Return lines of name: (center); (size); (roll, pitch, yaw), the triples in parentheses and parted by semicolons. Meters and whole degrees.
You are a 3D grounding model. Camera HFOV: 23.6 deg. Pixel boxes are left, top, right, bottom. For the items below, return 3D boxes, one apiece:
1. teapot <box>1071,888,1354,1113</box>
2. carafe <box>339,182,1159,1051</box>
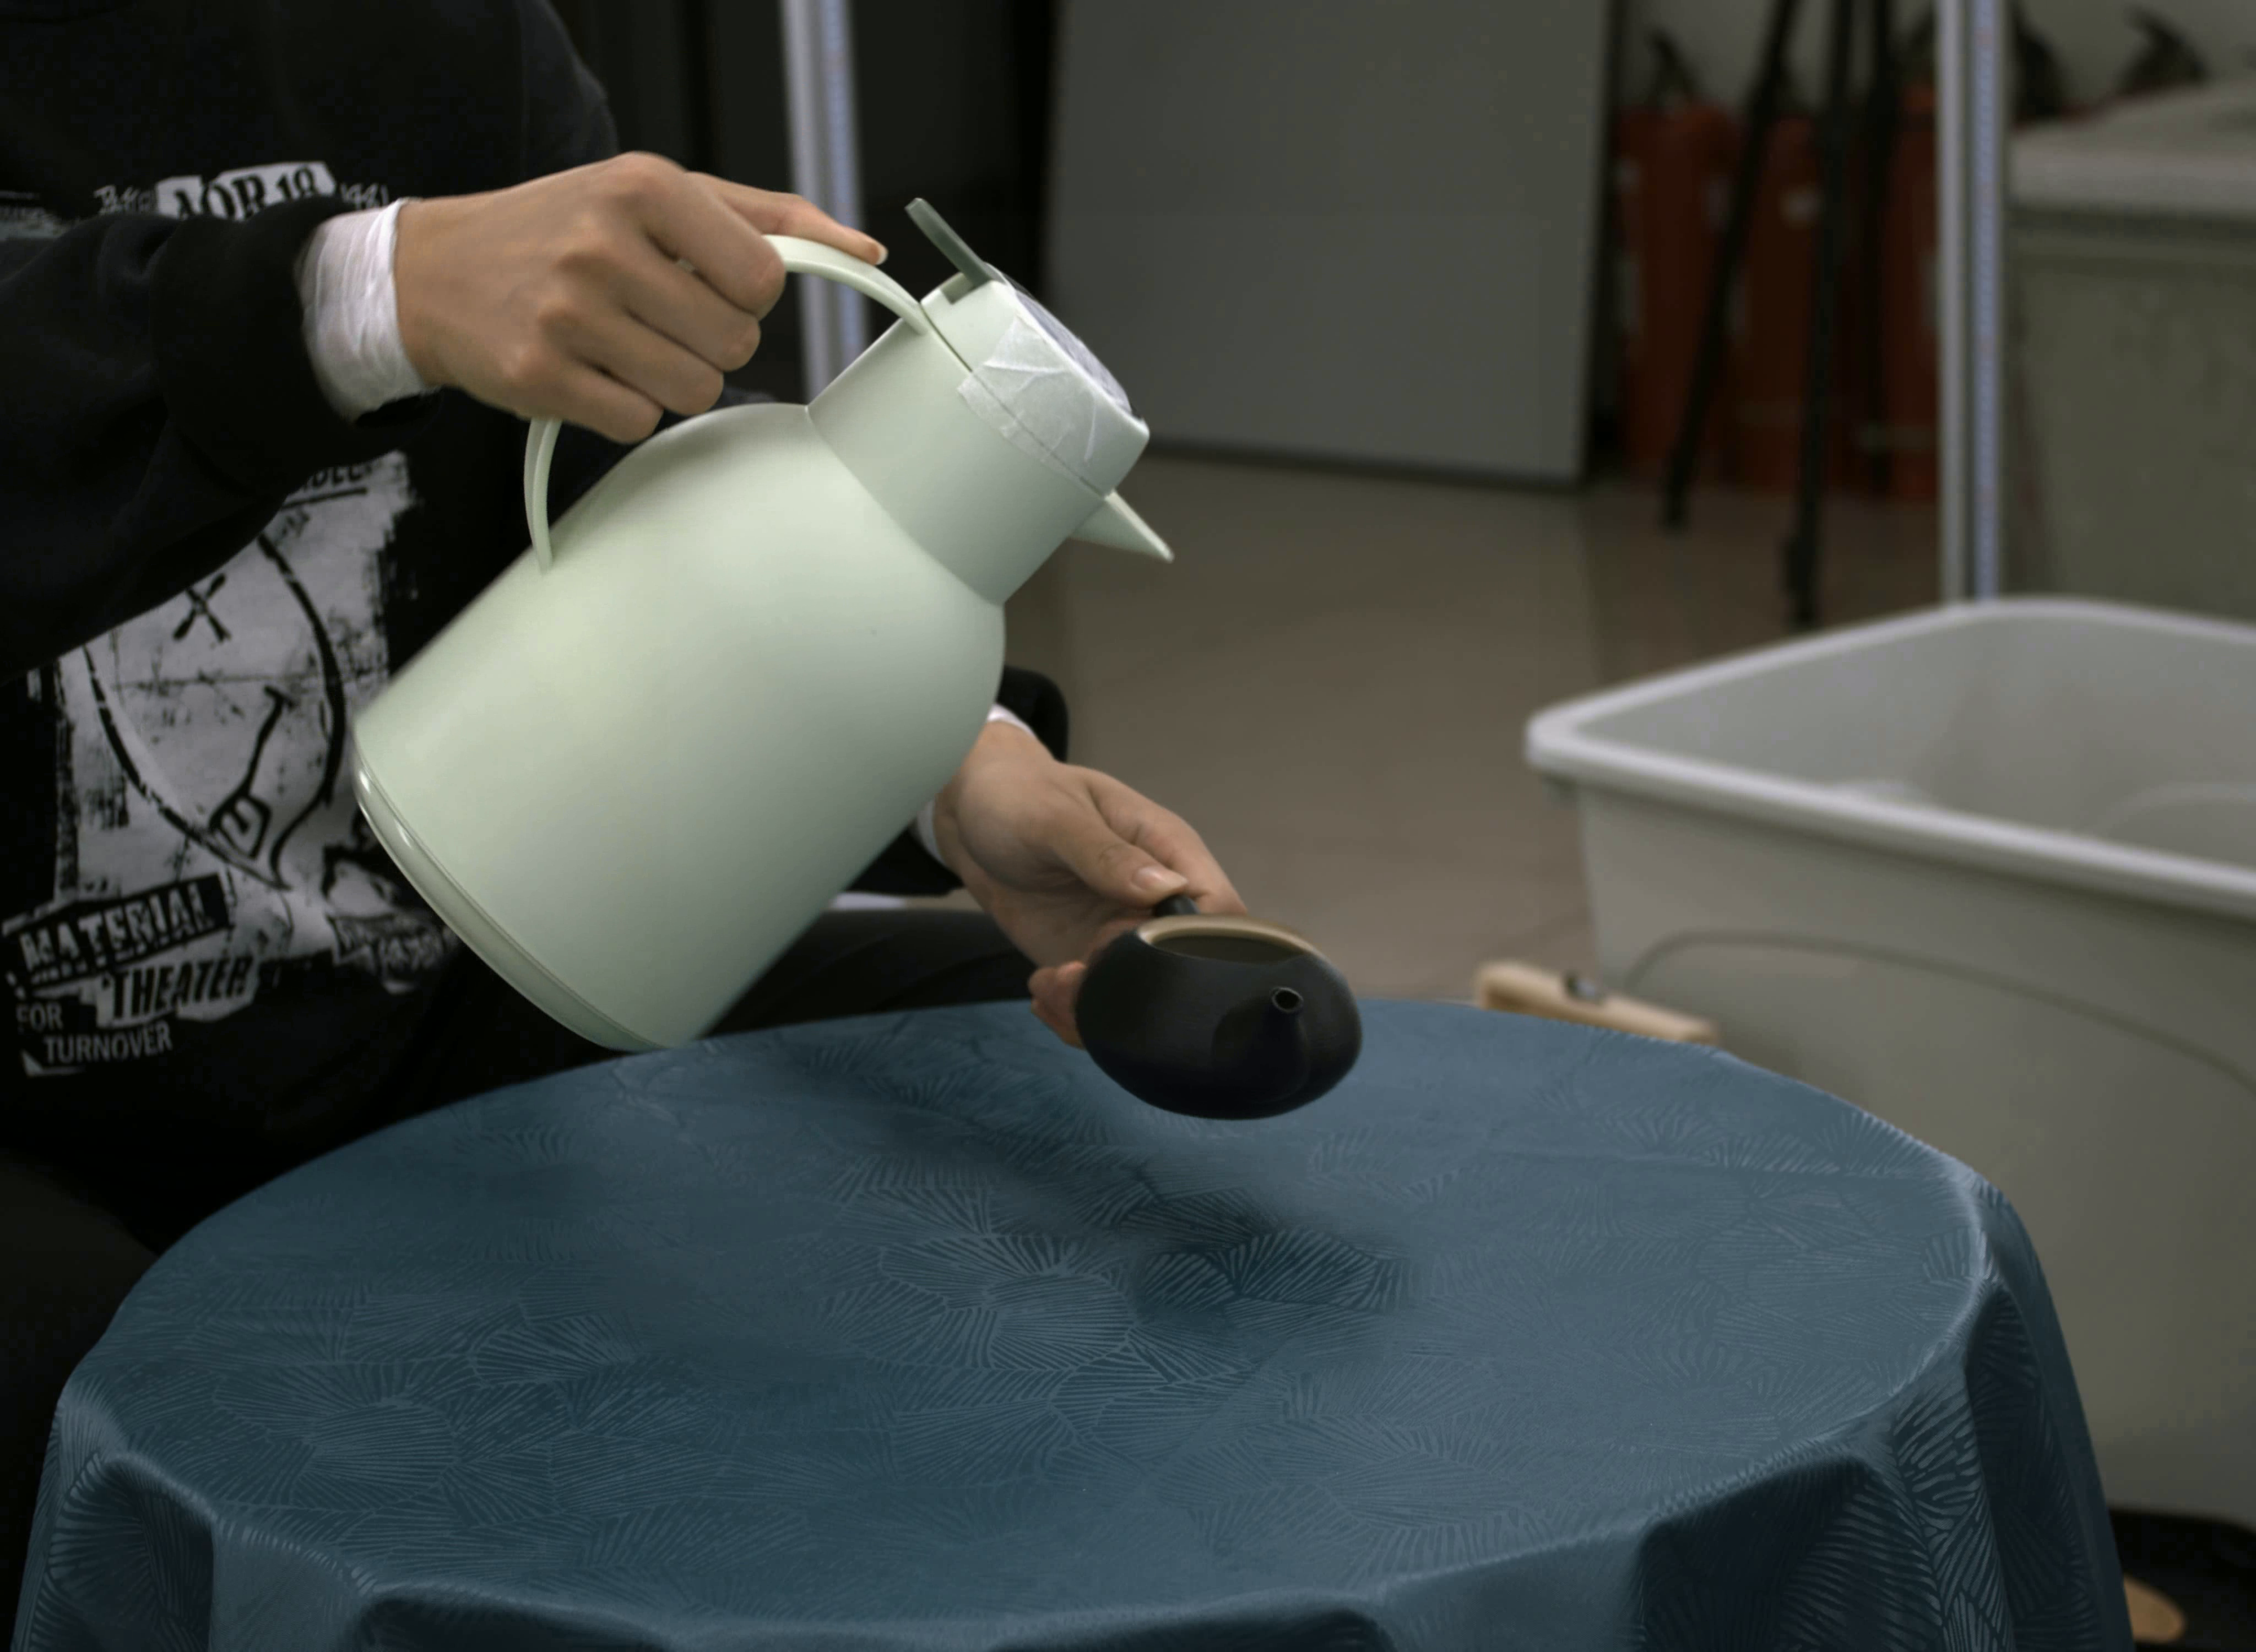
teapot: (0.027, 0.058, 1.703); (0.089, 0.054, 0.134); (1, 14, -16)
carafe: (-0.120, -0.072, 1.645); (0.257, 0.185, 0.145); (-46, 22, 8)
